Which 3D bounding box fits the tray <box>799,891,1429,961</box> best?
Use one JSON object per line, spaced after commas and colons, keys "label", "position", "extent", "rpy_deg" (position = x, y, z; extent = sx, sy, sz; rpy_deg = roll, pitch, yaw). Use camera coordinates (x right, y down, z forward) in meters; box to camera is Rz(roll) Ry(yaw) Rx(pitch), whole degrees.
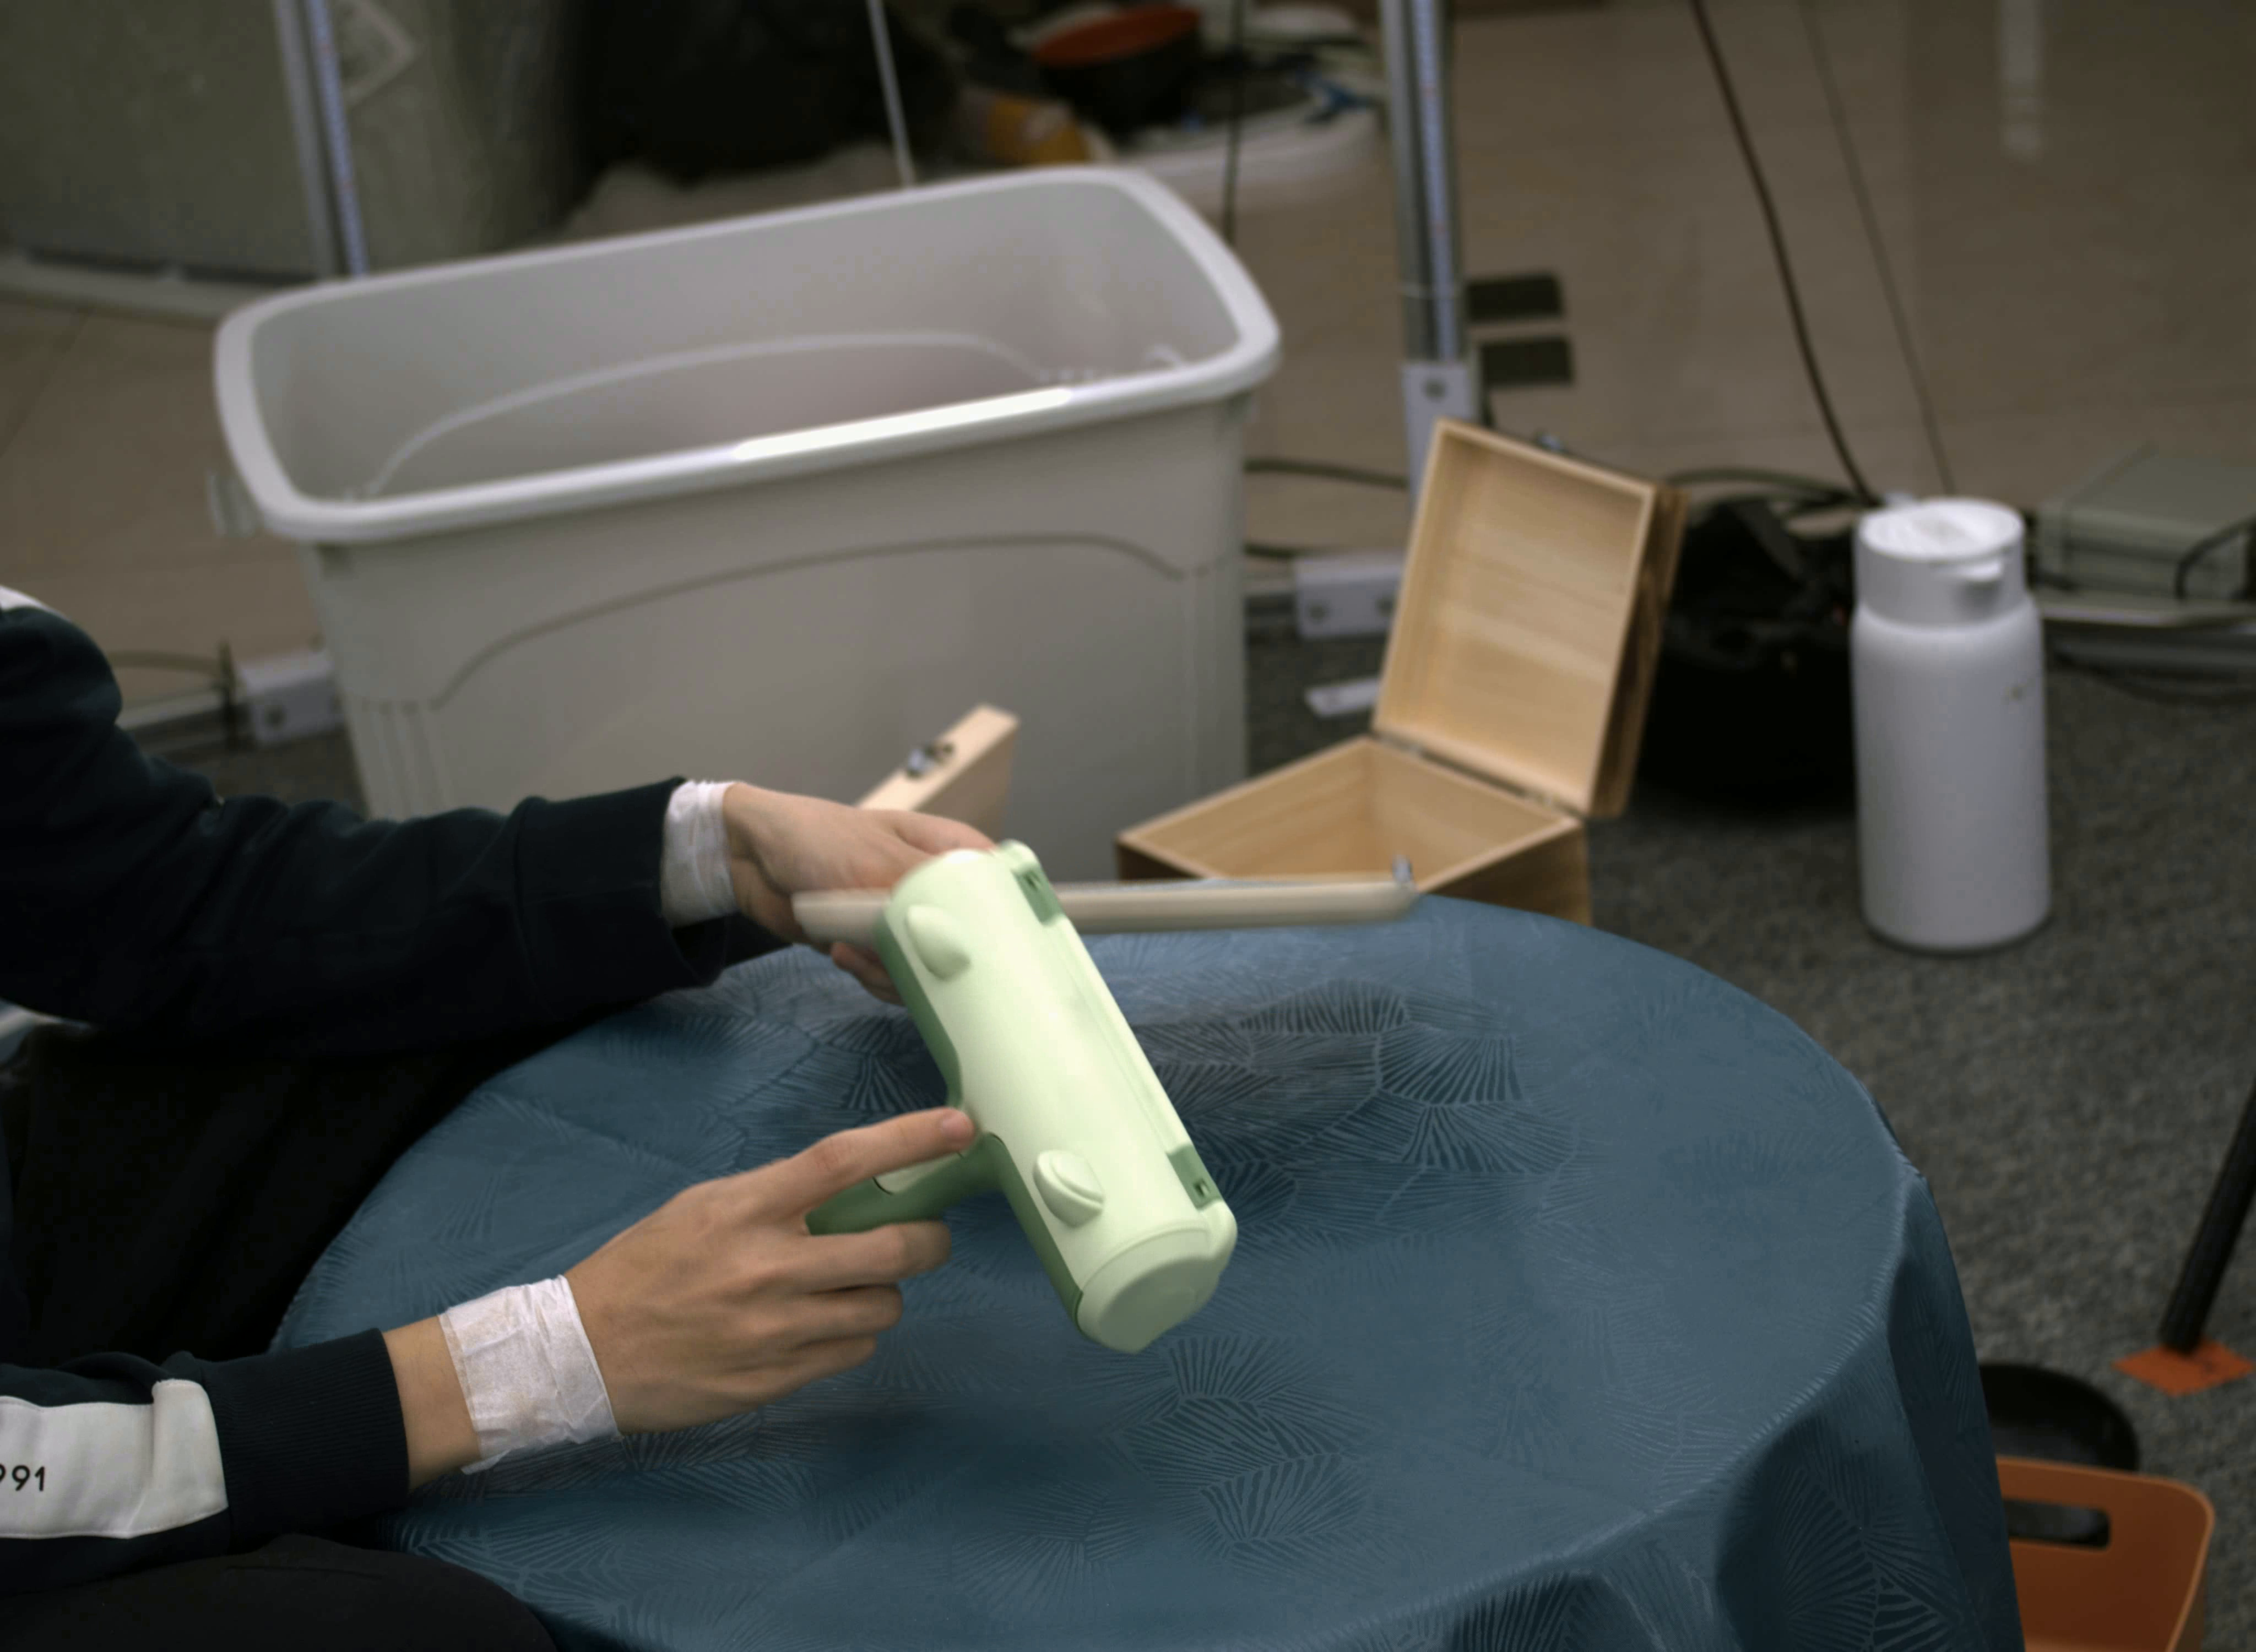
{"label": "tray", "position": [-0.004, 0.039, 2.190], "extent": [0.239, 0.017, 0.171], "rpy_deg": [-1, 1, 2]}

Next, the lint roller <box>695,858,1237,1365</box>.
{"label": "lint roller", "position": [-0.078, 0.118, 1.977], "extent": [0.183, 0.083, 0.195], "rpy_deg": [-27, 54, -2]}
